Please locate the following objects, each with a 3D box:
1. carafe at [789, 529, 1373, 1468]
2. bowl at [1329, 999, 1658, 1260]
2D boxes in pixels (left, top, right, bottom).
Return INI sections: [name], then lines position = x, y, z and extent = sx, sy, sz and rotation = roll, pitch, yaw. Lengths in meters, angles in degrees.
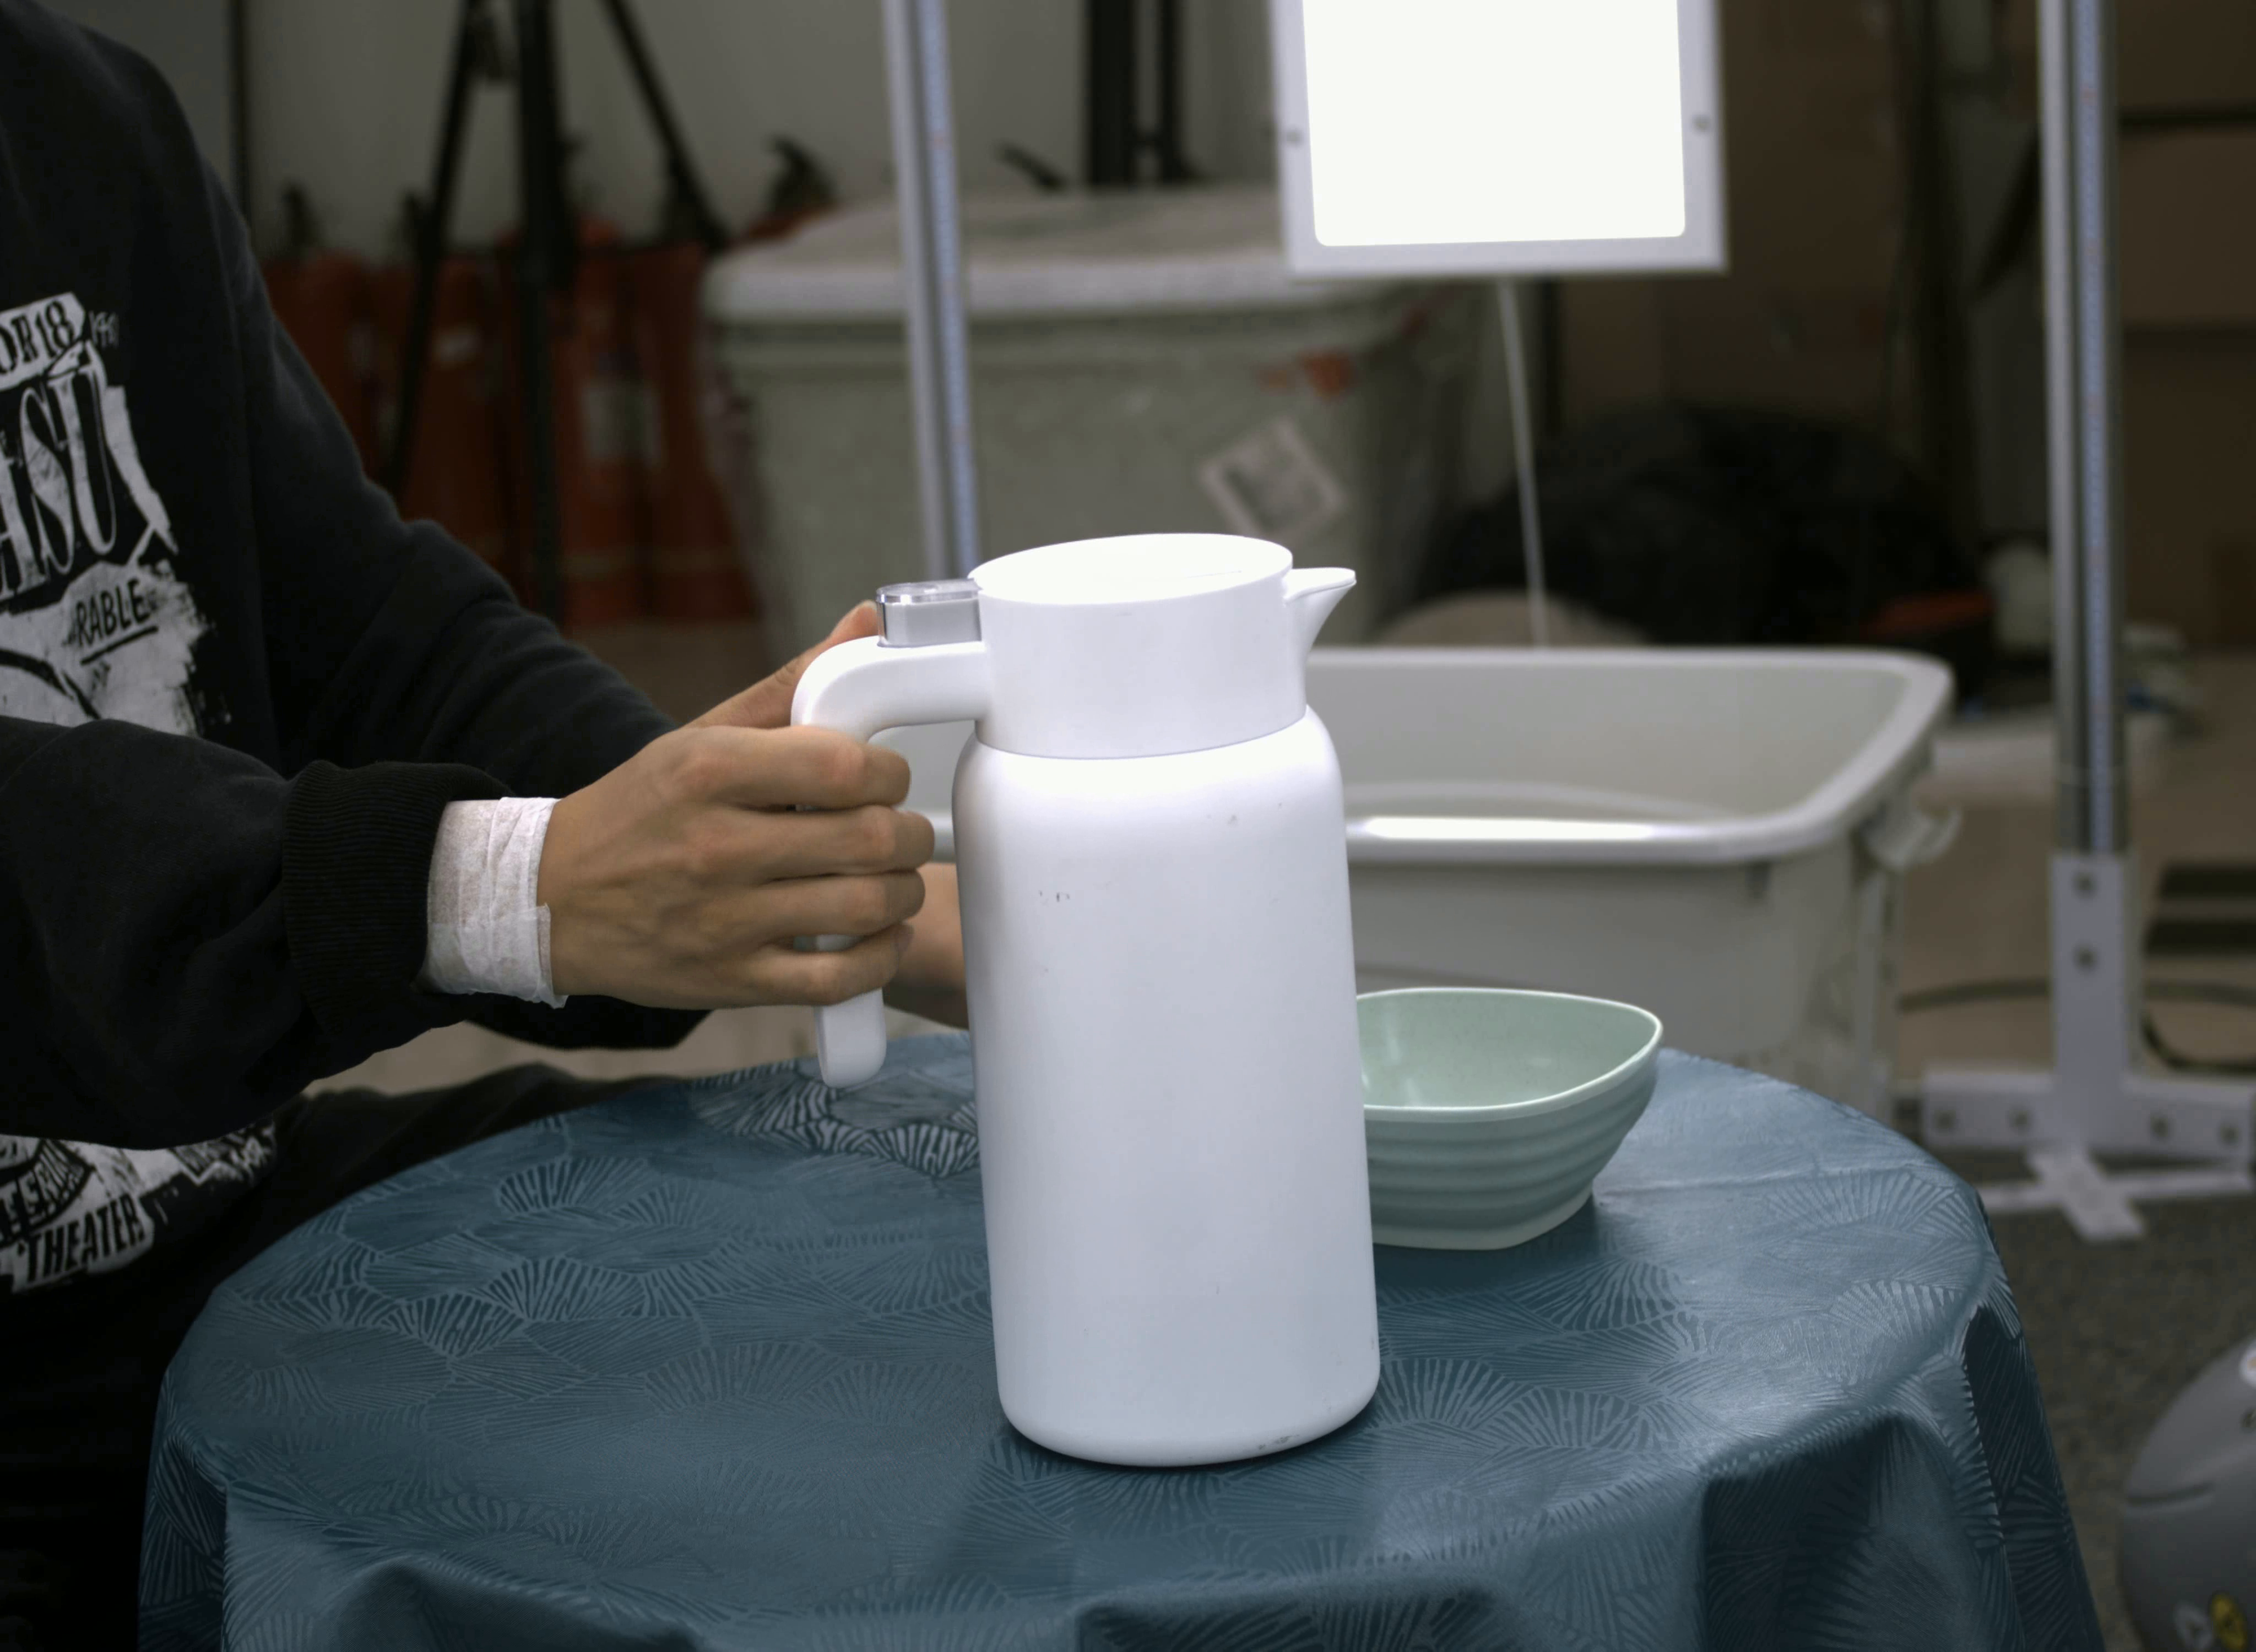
[carafe]
position = -0.008, 0.052, 1.645
extent = 0.171, 0.270, 0.124
rotation = -7, 16, -8
[bowl]
position = 0.107, 0.104, 1.841
extent = 0.151, 0.059, 0.151
rotation = -5, 13, 0
